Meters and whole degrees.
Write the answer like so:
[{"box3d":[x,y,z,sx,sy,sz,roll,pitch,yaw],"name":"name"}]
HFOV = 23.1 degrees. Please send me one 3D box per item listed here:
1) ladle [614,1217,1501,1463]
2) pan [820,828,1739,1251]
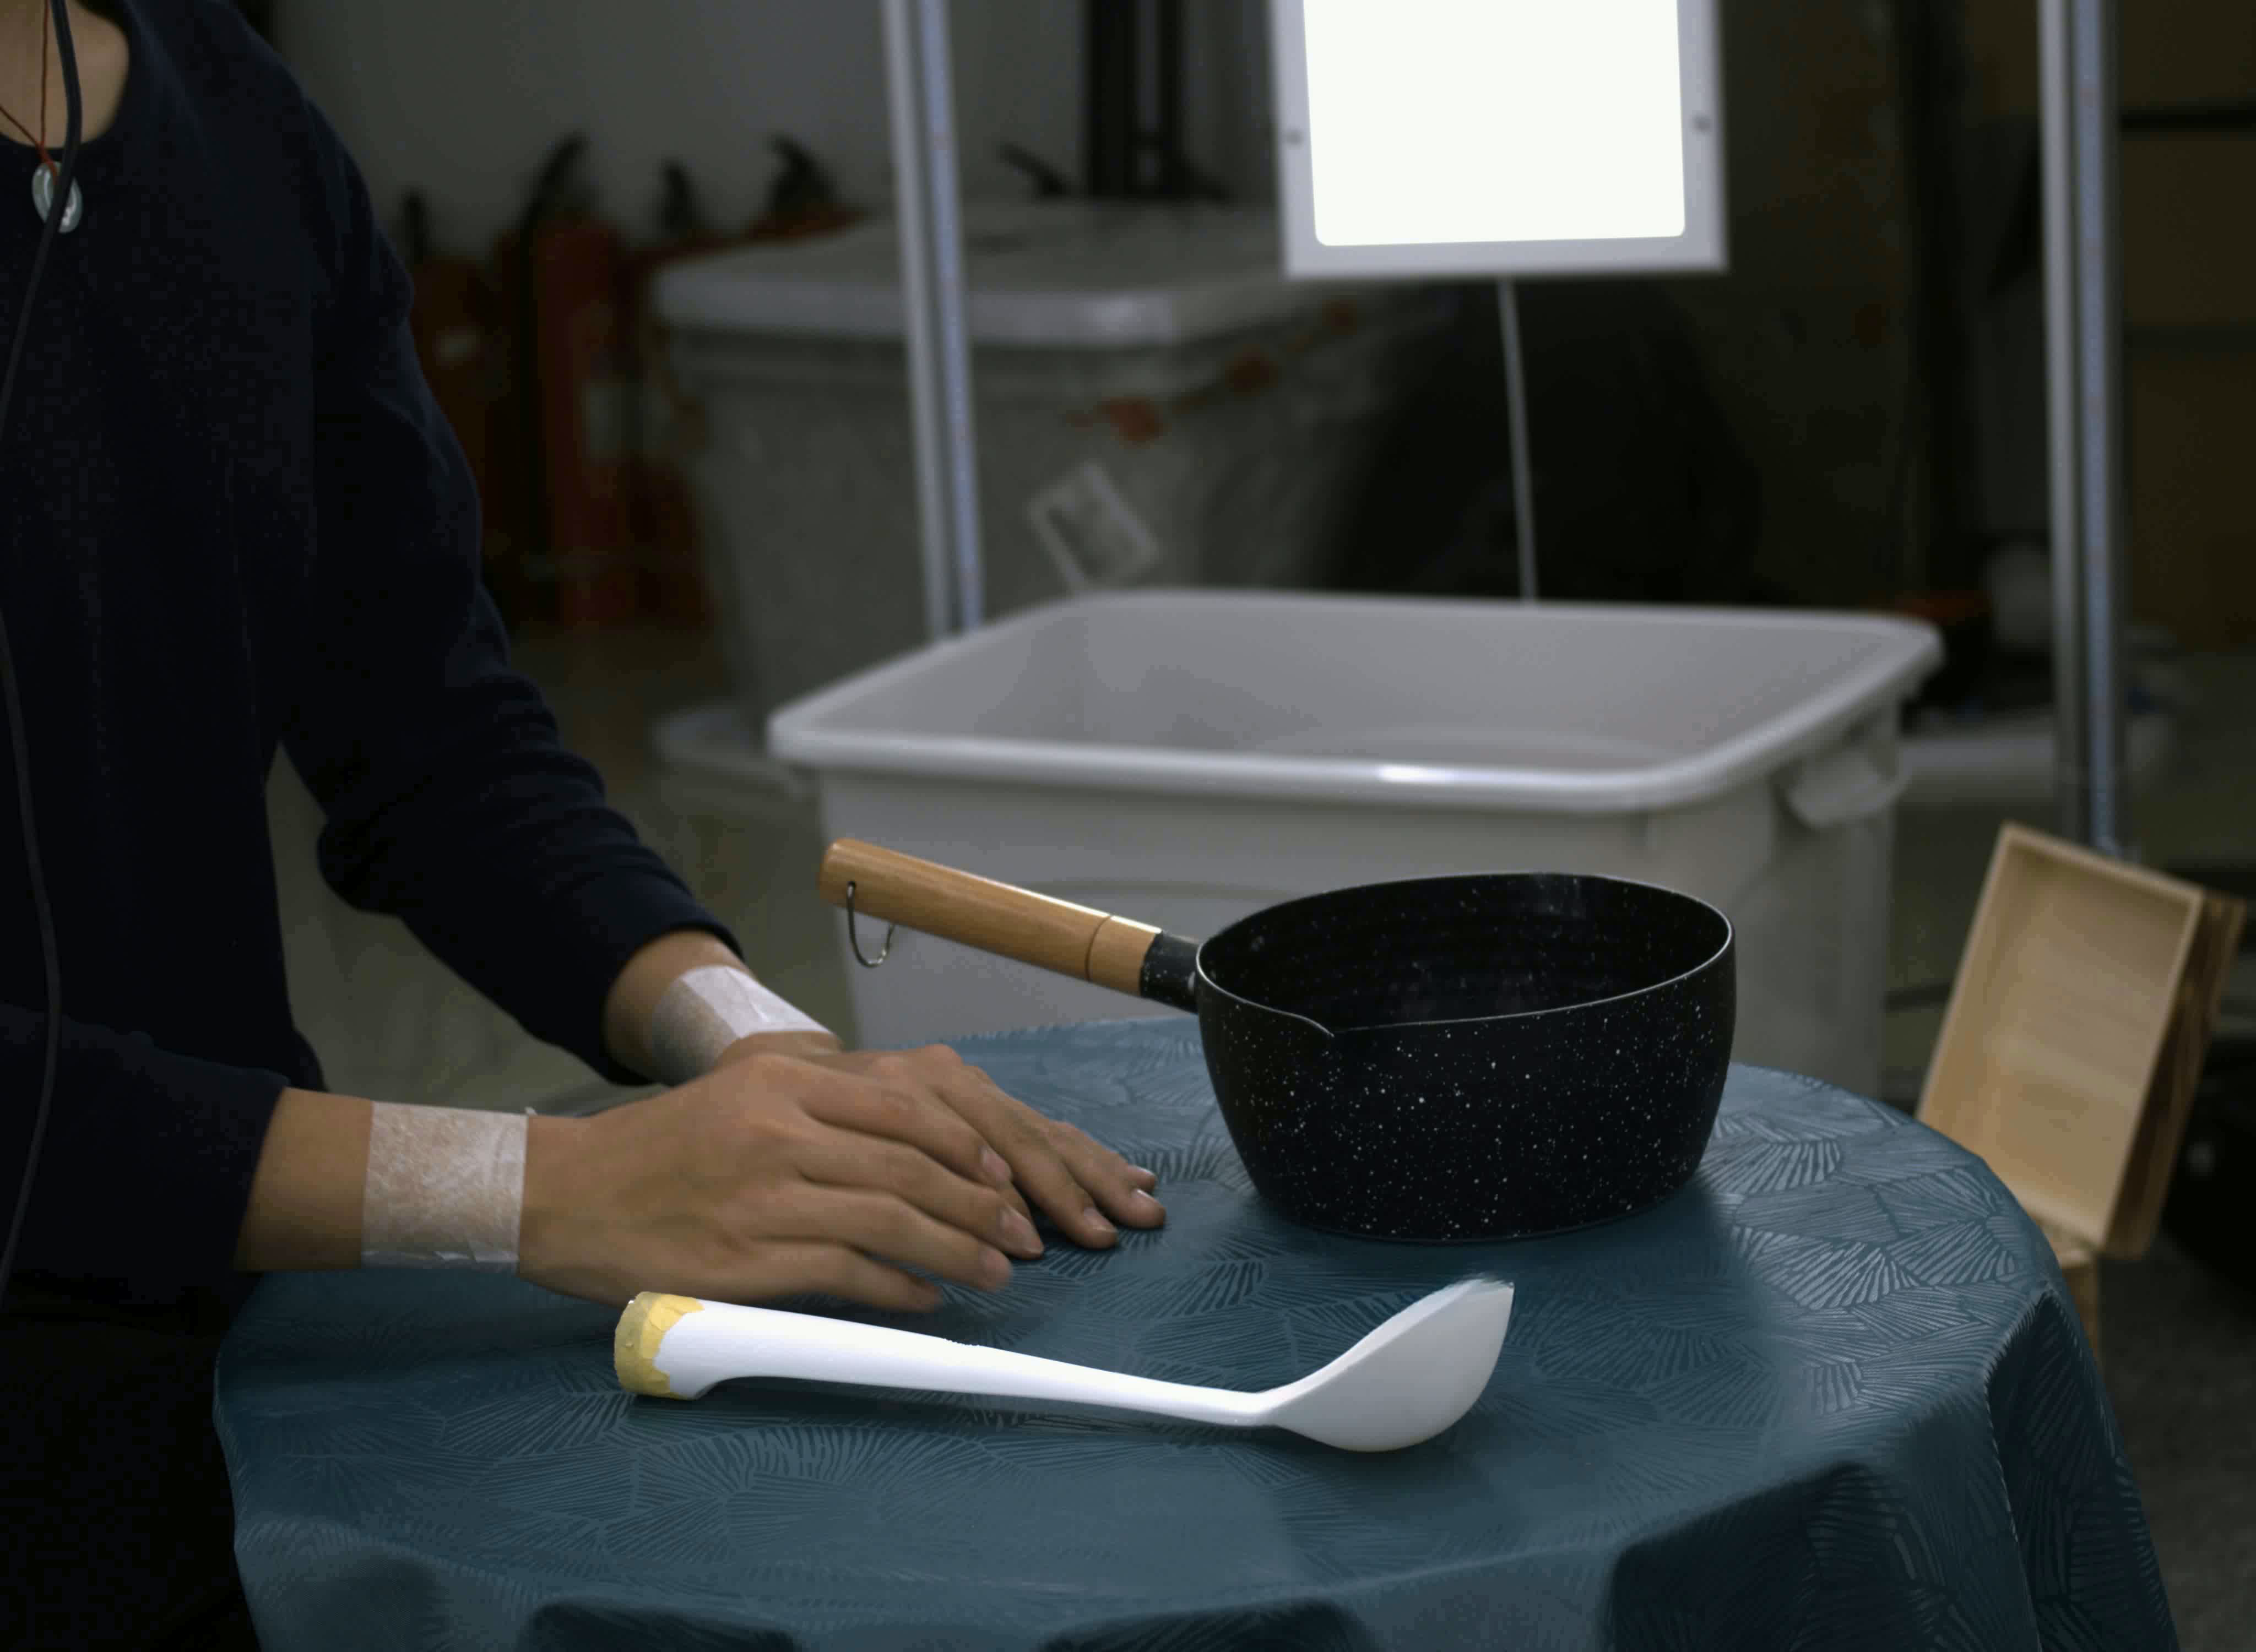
[{"box3d":[-0.025,0.153,1.665,0.298,0.070,0.088,1,22,26],"name":"ladle"},{"box3d":[0.045,0.065,1.904,0.349,0.108,0.203,4,17,27],"name":"pan"}]
